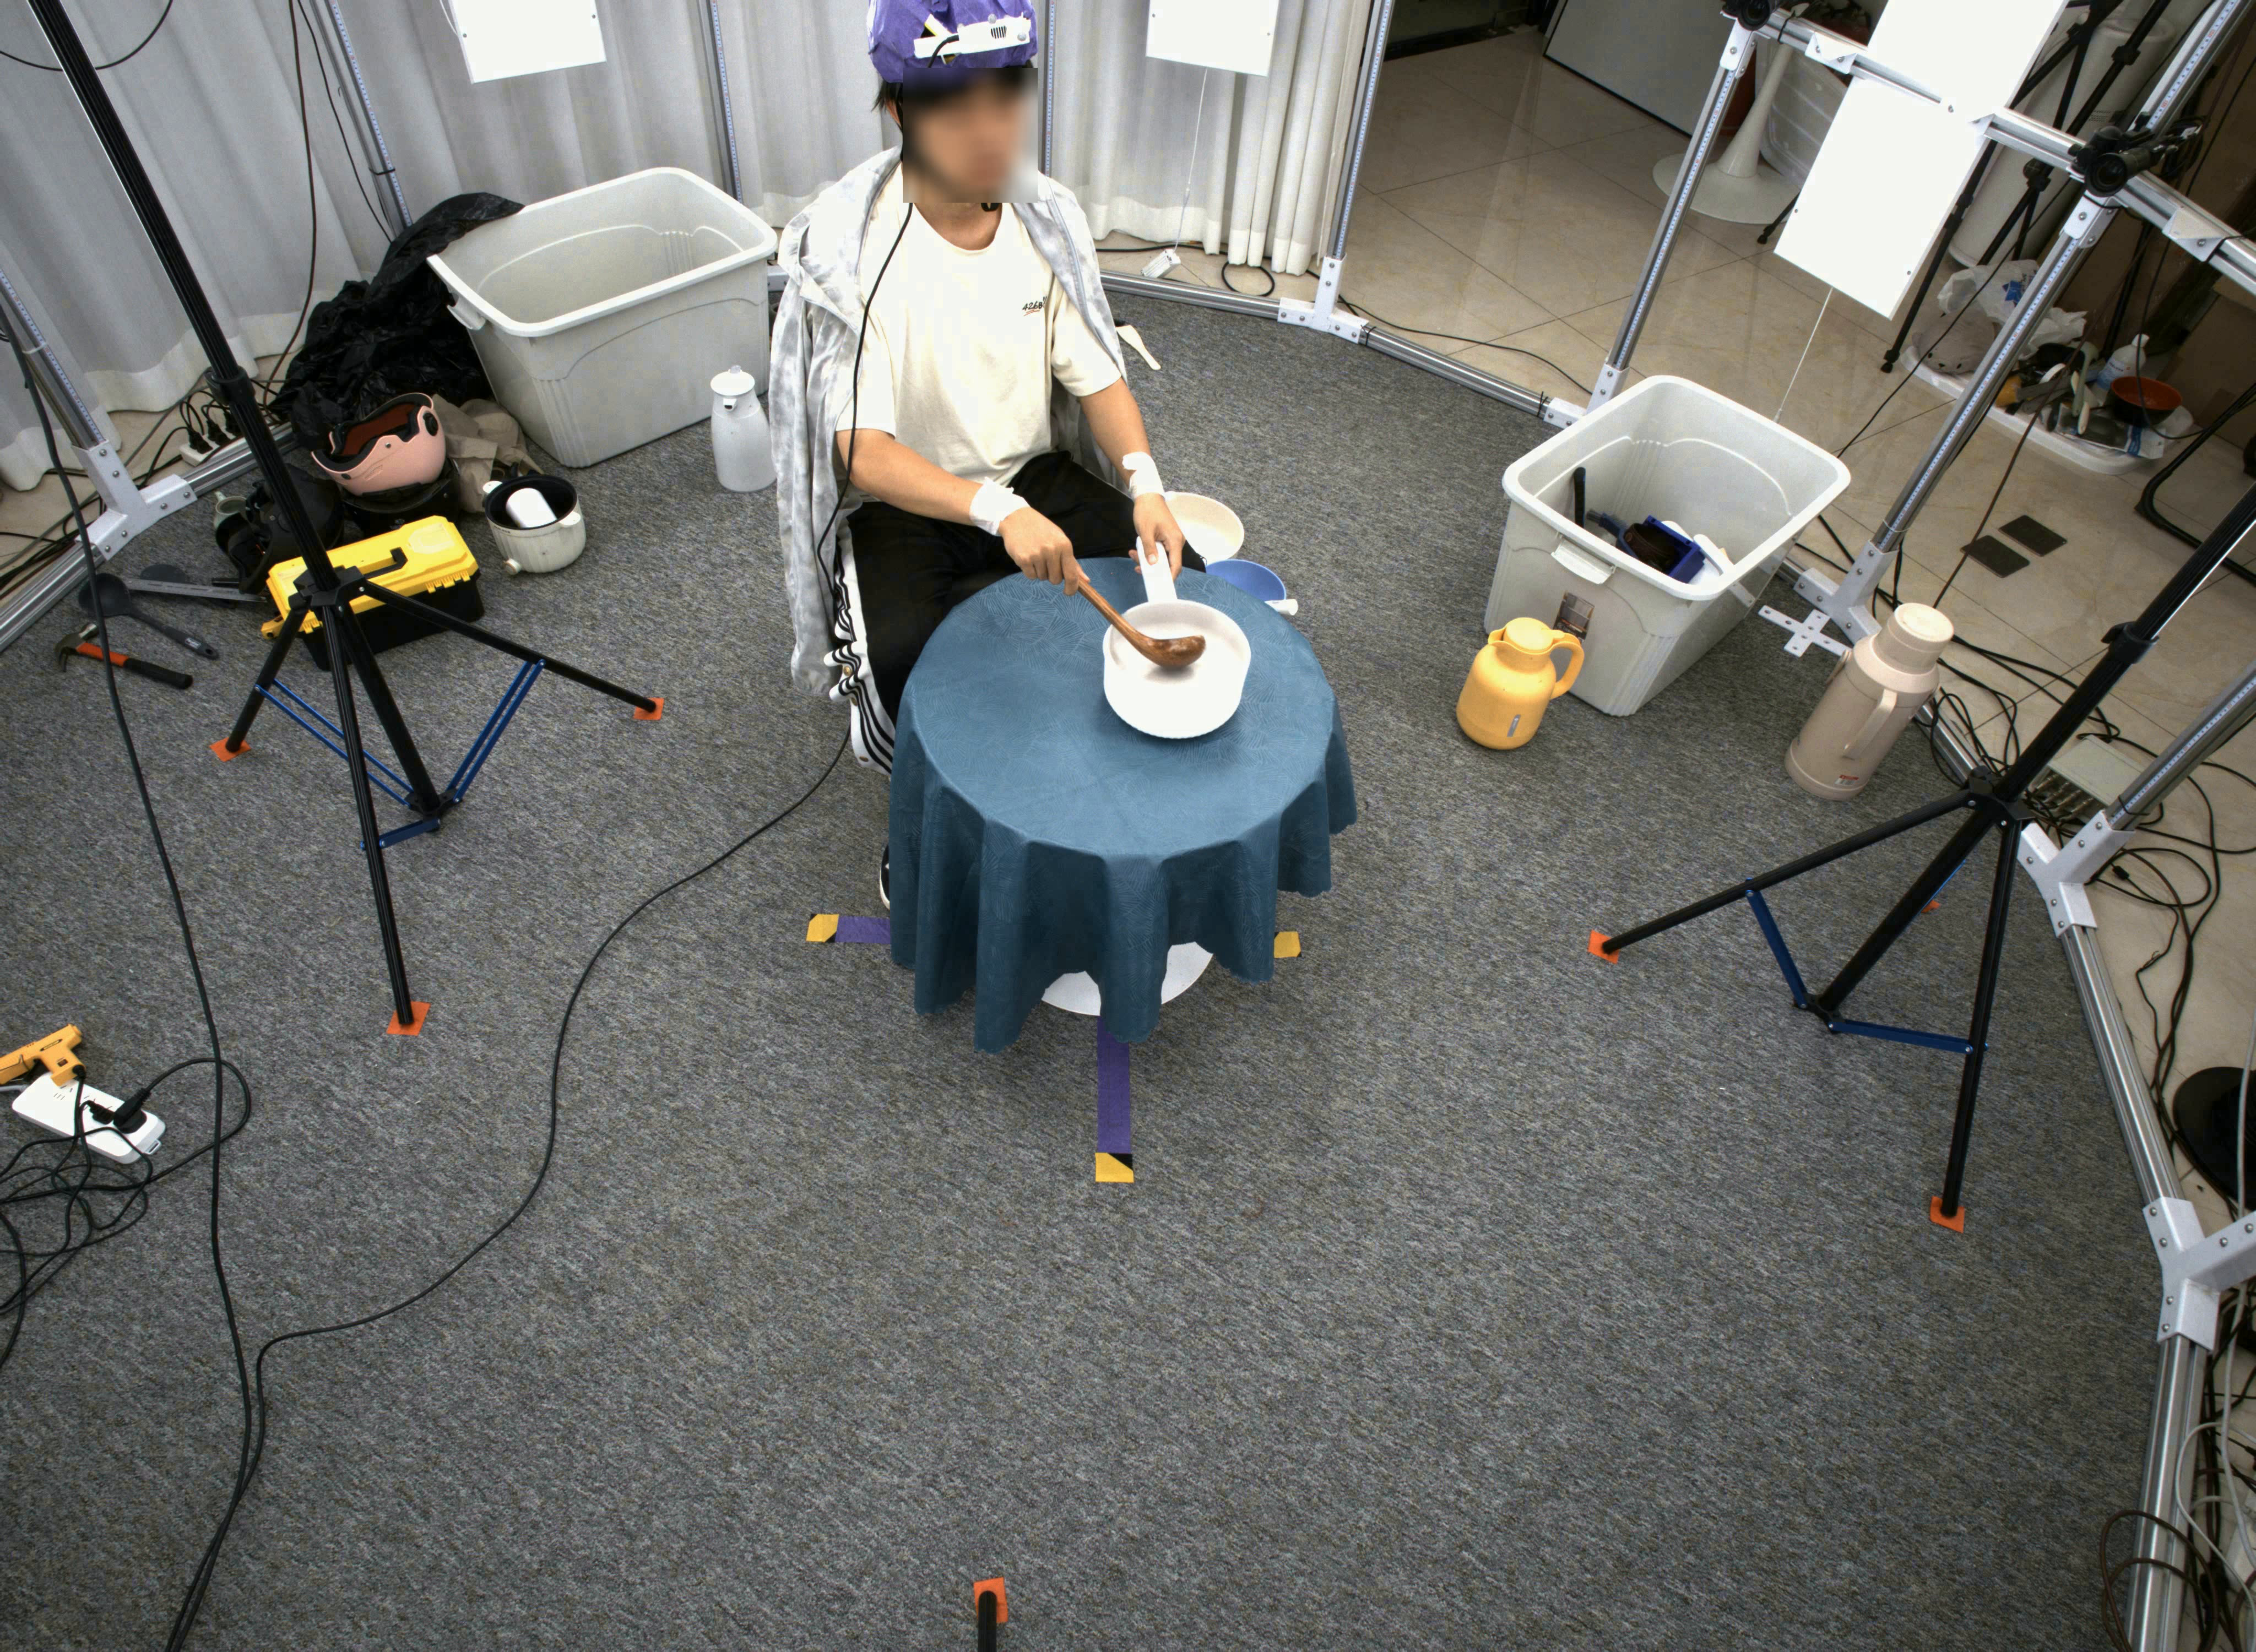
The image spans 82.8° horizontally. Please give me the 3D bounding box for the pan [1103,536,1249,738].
[{"bbox_3d":[0.054,-0.271,1.839,0.201,0.099,0.364,-4,47,-6],"label":"pan"}]

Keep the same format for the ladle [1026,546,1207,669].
[{"bbox_3d":[-0.011,-0.312,1.766,0.274,0.081,0.078,40,59,-1],"label":"ladle"}]
